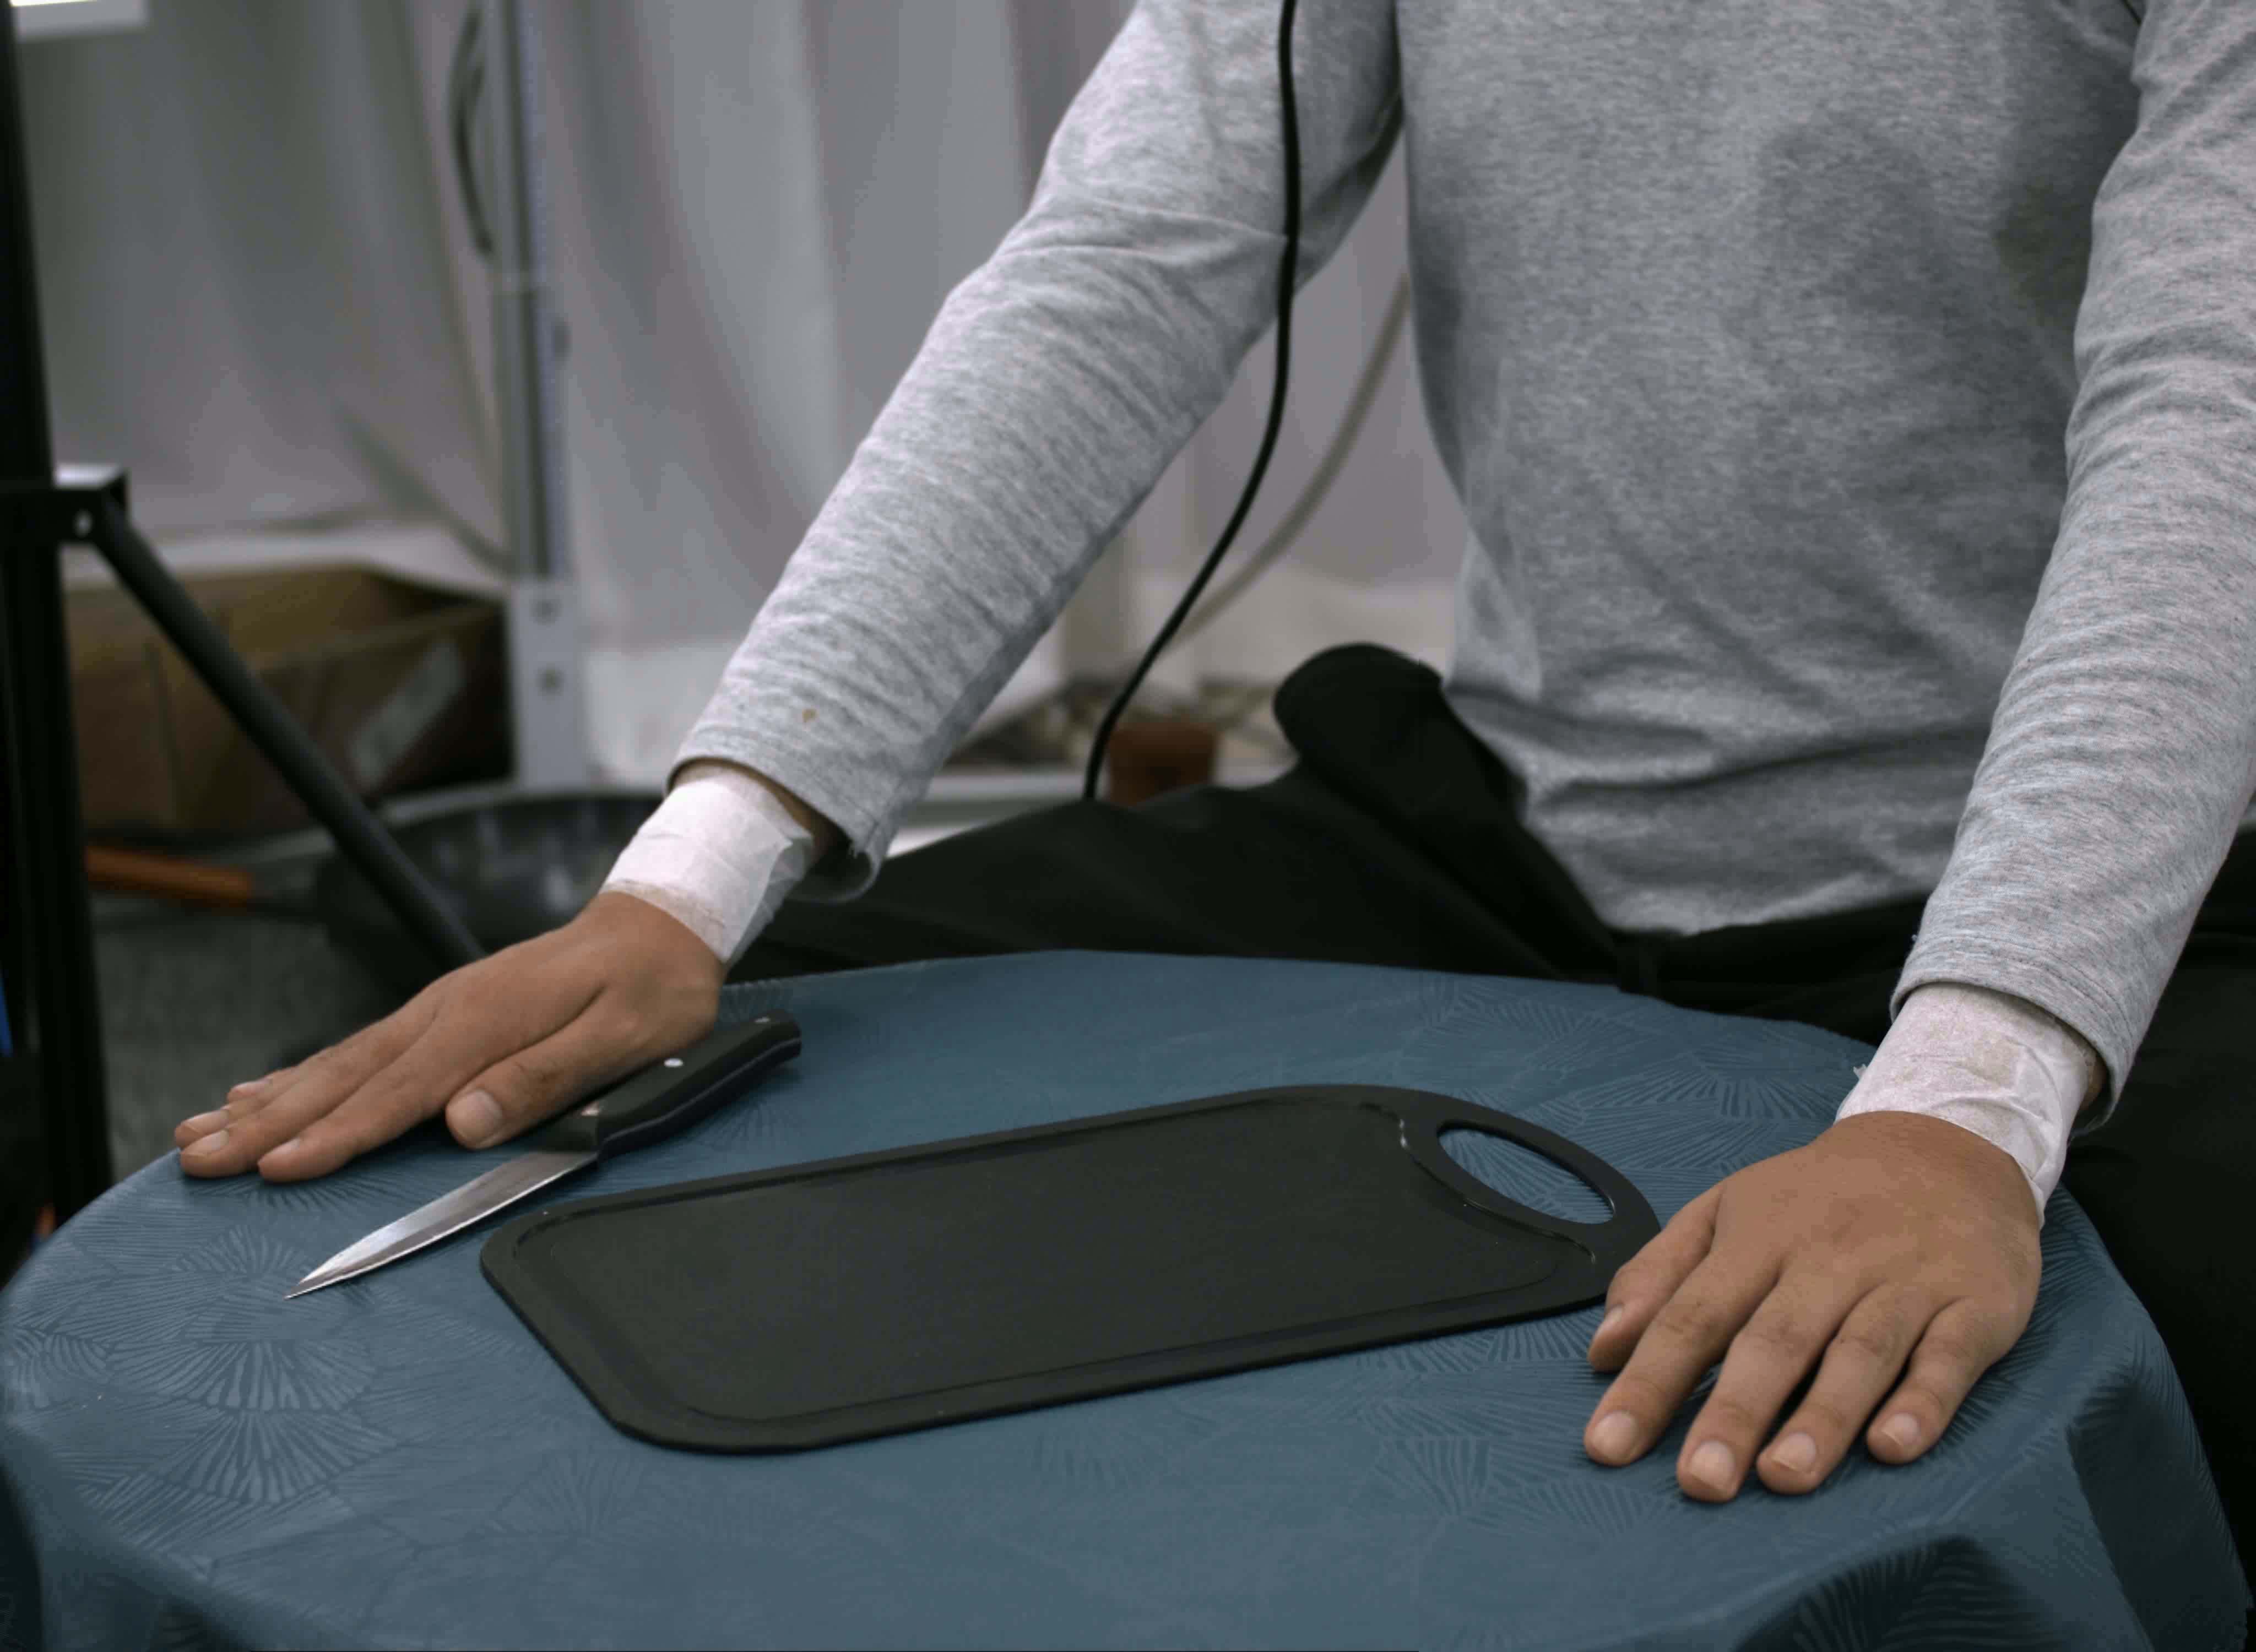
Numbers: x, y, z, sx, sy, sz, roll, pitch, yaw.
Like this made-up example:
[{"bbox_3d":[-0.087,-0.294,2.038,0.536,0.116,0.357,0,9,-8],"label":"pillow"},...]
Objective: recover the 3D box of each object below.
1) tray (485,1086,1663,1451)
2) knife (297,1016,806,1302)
[{"bbox_3d":[-0.011,0.119,1.514,0.319,0.010,0.215,-8,17,-19],"label":"tray"},{"bbox_3d":[-0.172,0.100,1.598,0.025,0.016,0.234,5,20,33],"label":"knife"}]
